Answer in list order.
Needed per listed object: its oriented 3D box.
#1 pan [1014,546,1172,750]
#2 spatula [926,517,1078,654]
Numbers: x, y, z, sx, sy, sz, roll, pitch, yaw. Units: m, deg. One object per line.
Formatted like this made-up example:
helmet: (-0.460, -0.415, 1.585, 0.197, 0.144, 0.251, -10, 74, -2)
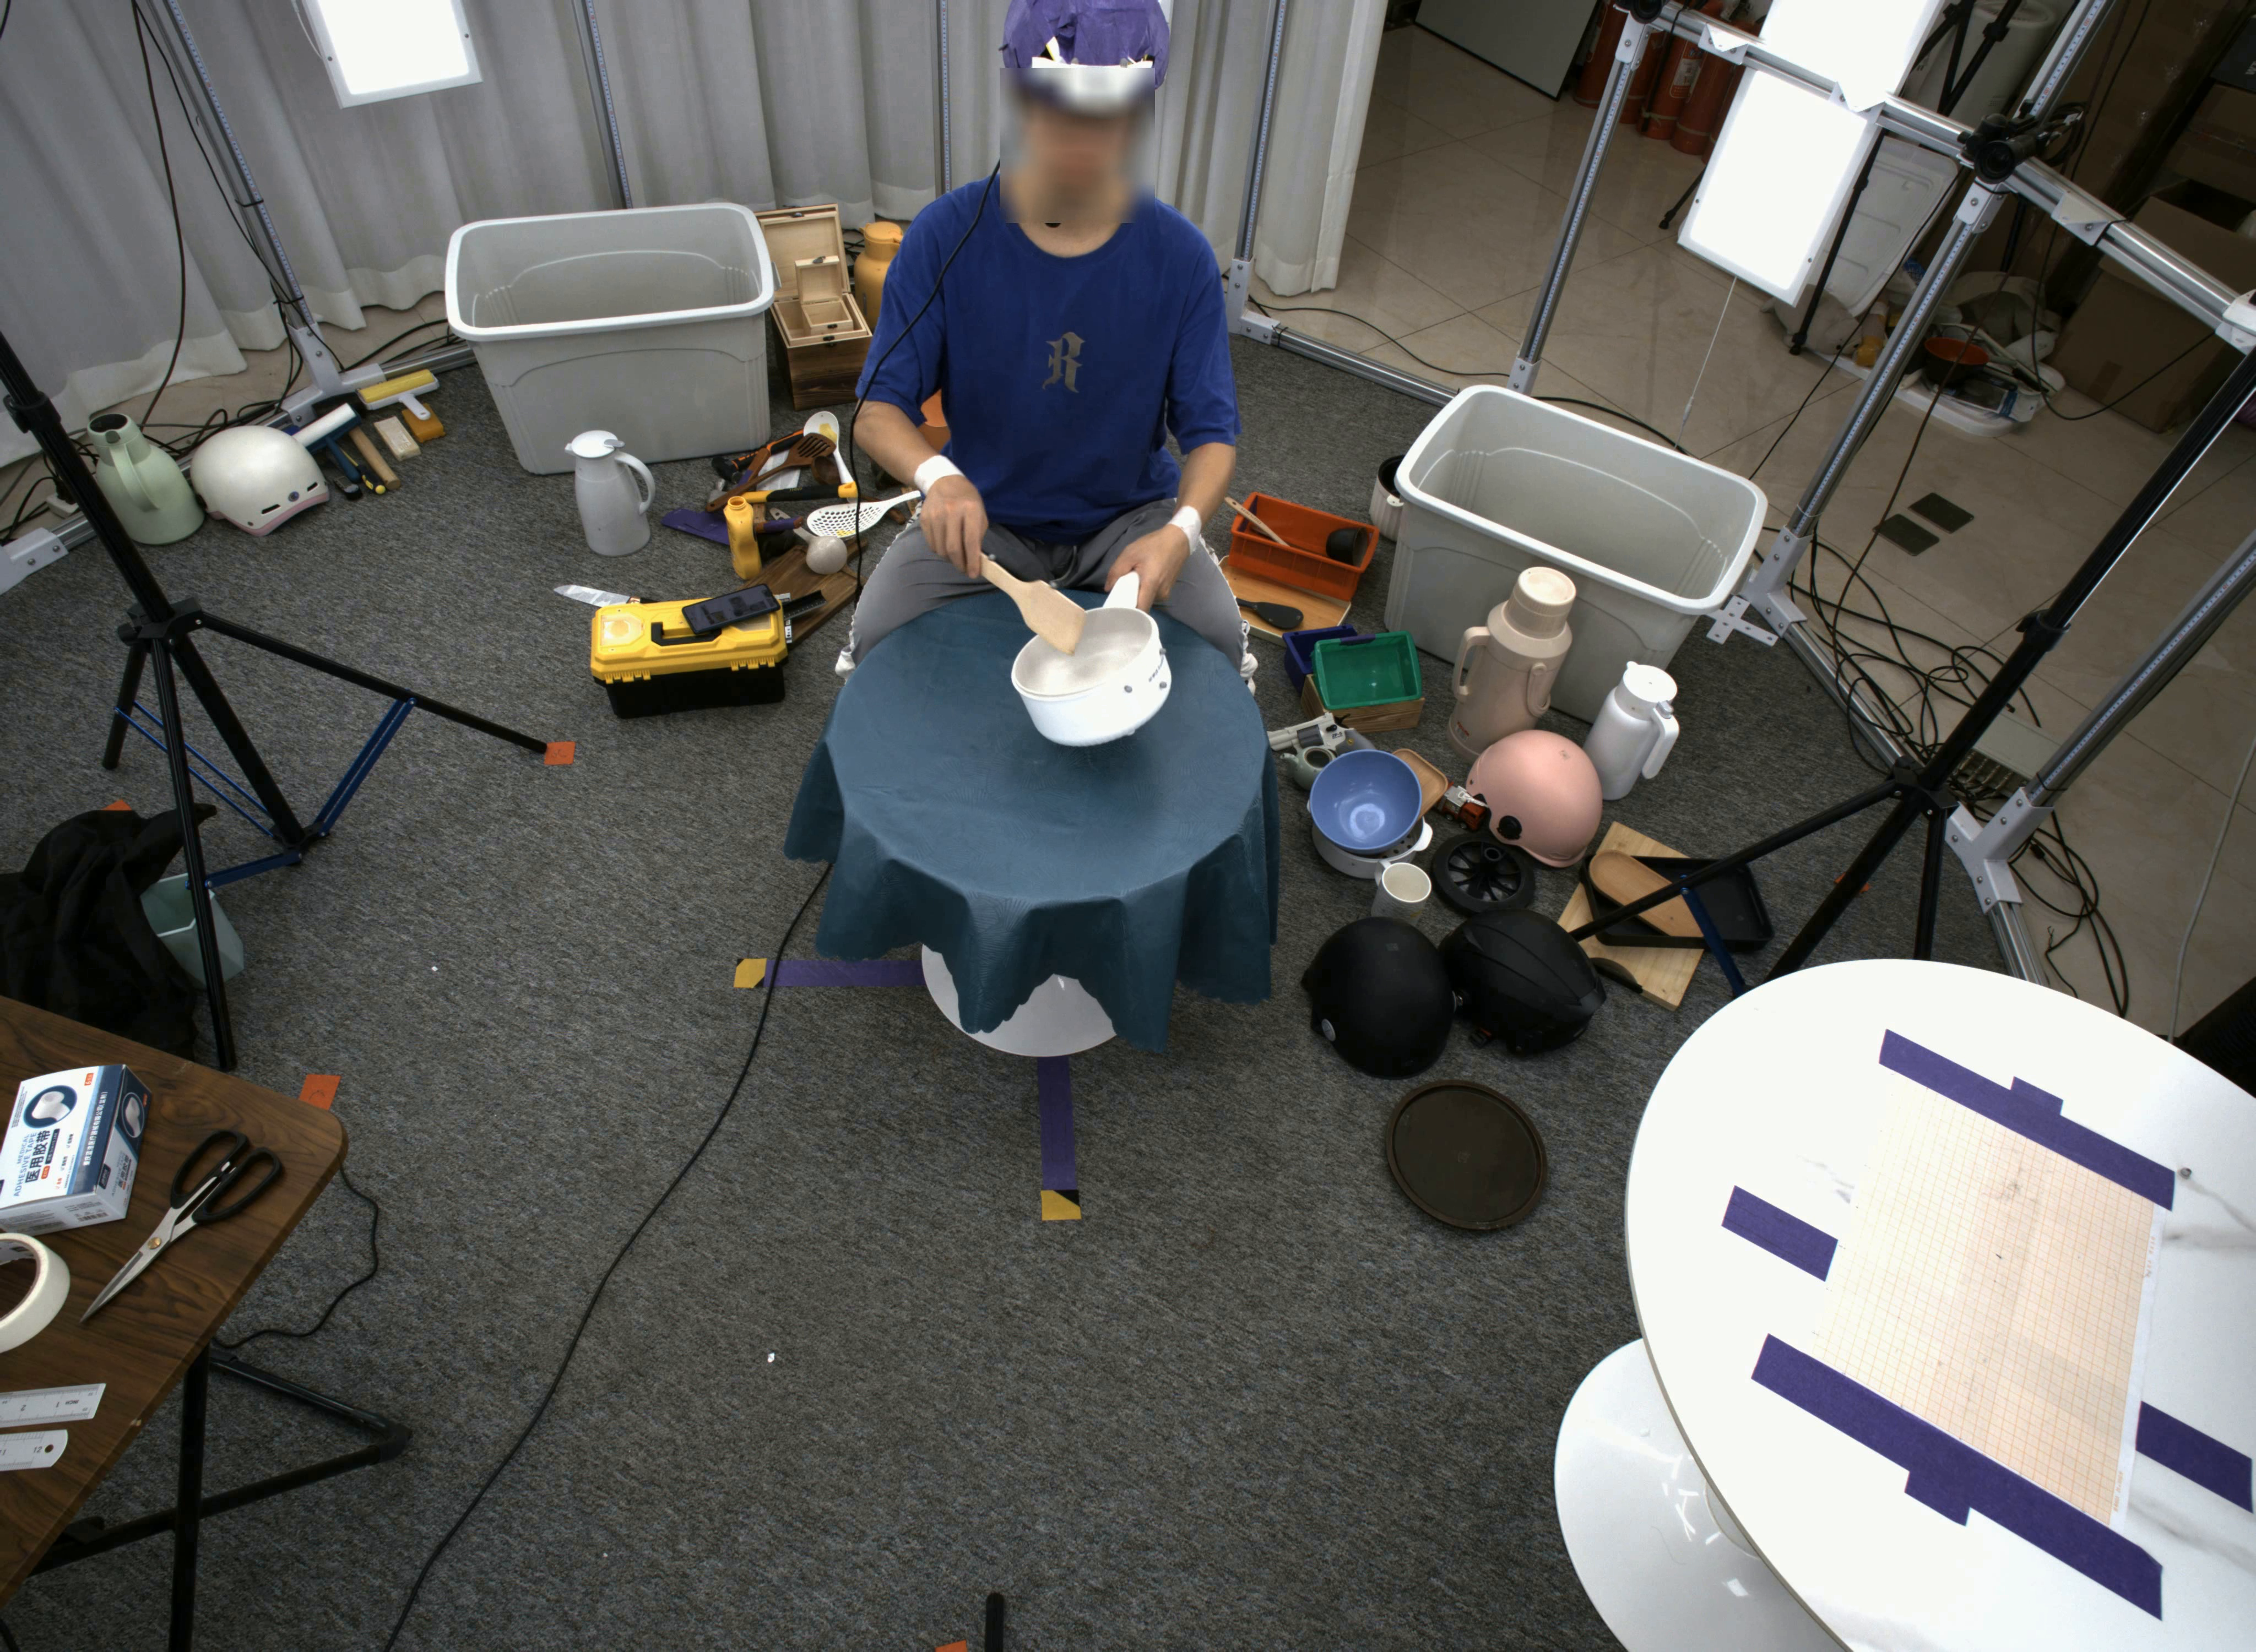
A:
pan: (-0.017, -0.243, 1.747, 0.201, 0.100, 0.362, -3, 41, 28)
spatula: (-0.173, -0.331, 1.707, 0.297, 0.071, 0.011, 40, 42, 27)
